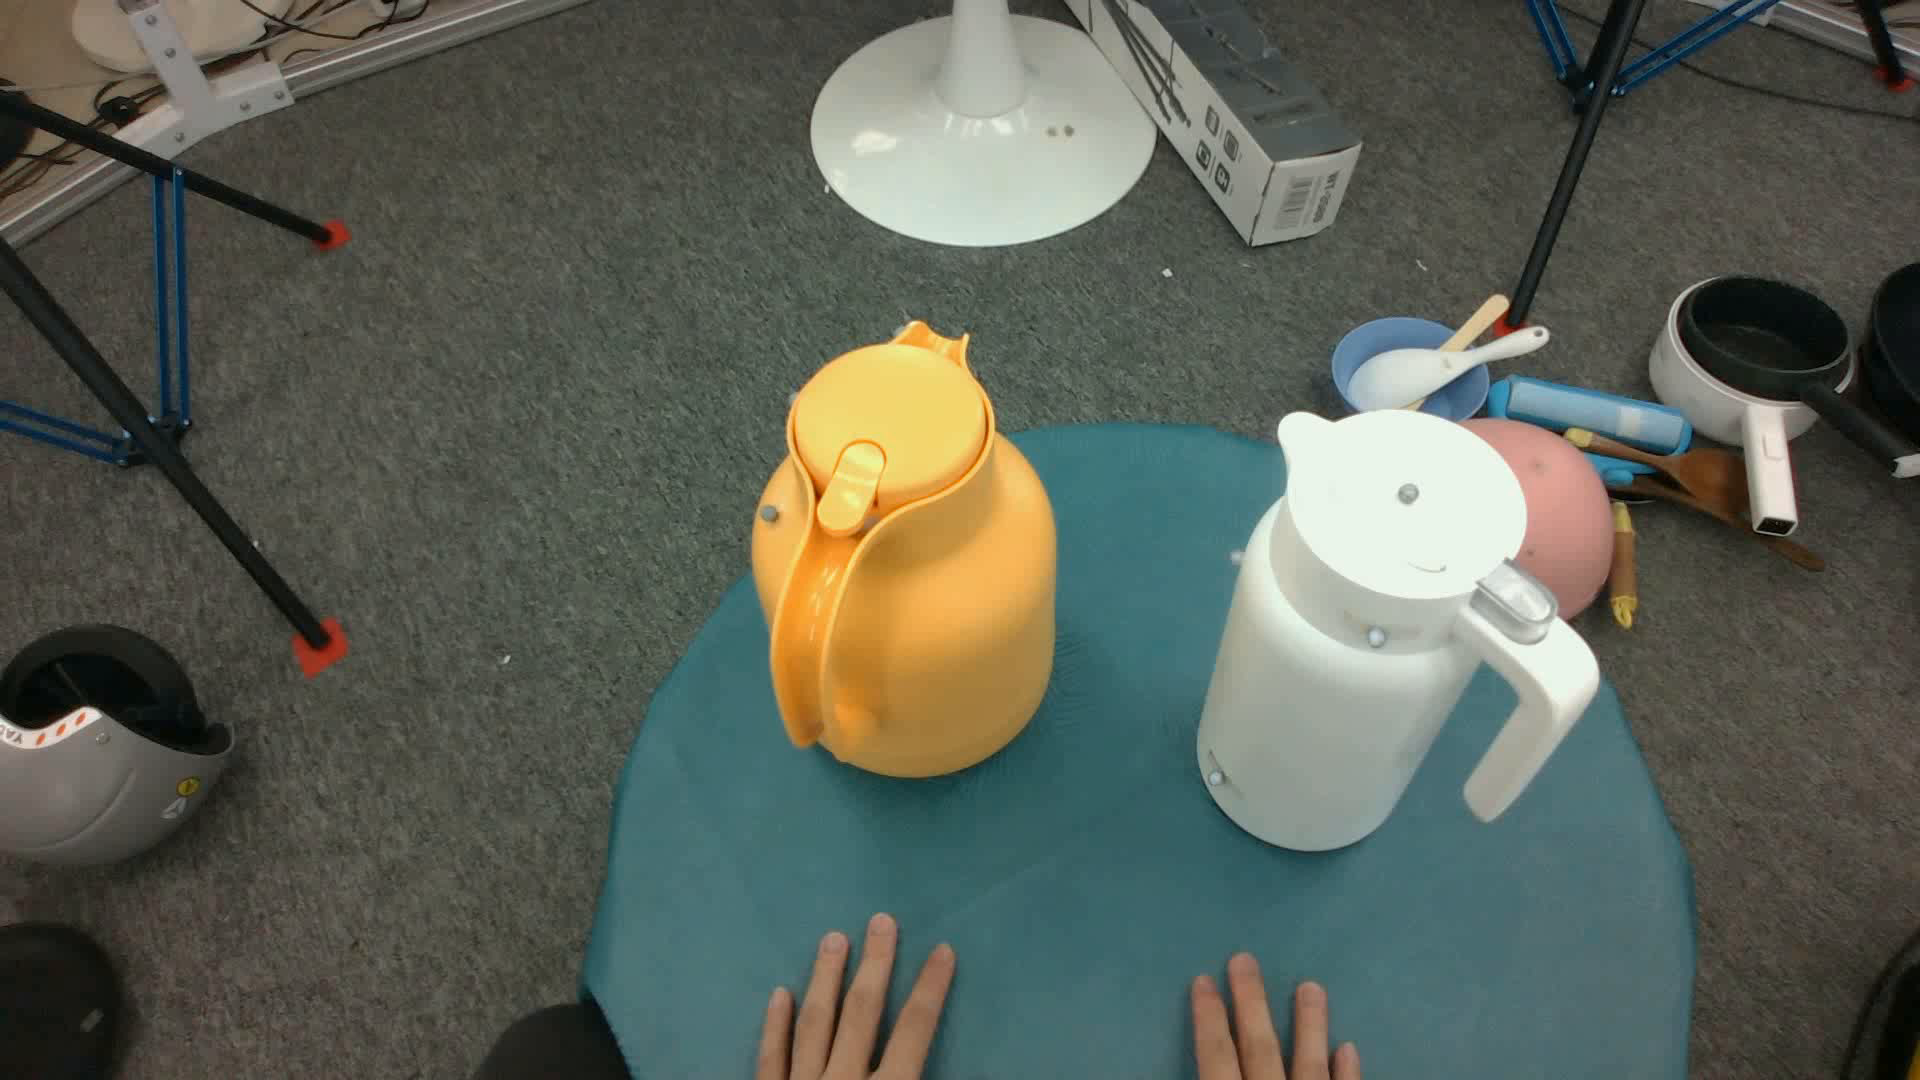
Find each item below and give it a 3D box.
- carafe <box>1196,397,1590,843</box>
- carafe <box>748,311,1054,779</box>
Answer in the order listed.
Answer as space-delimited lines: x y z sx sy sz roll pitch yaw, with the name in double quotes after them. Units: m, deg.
0.203 0.062 0.687 0.124 0.267 0.173 -34 62 -22 "carafe"
-0.039 0.022 0.721 0.163 0.259 0.203 17 56 16 "carafe"
